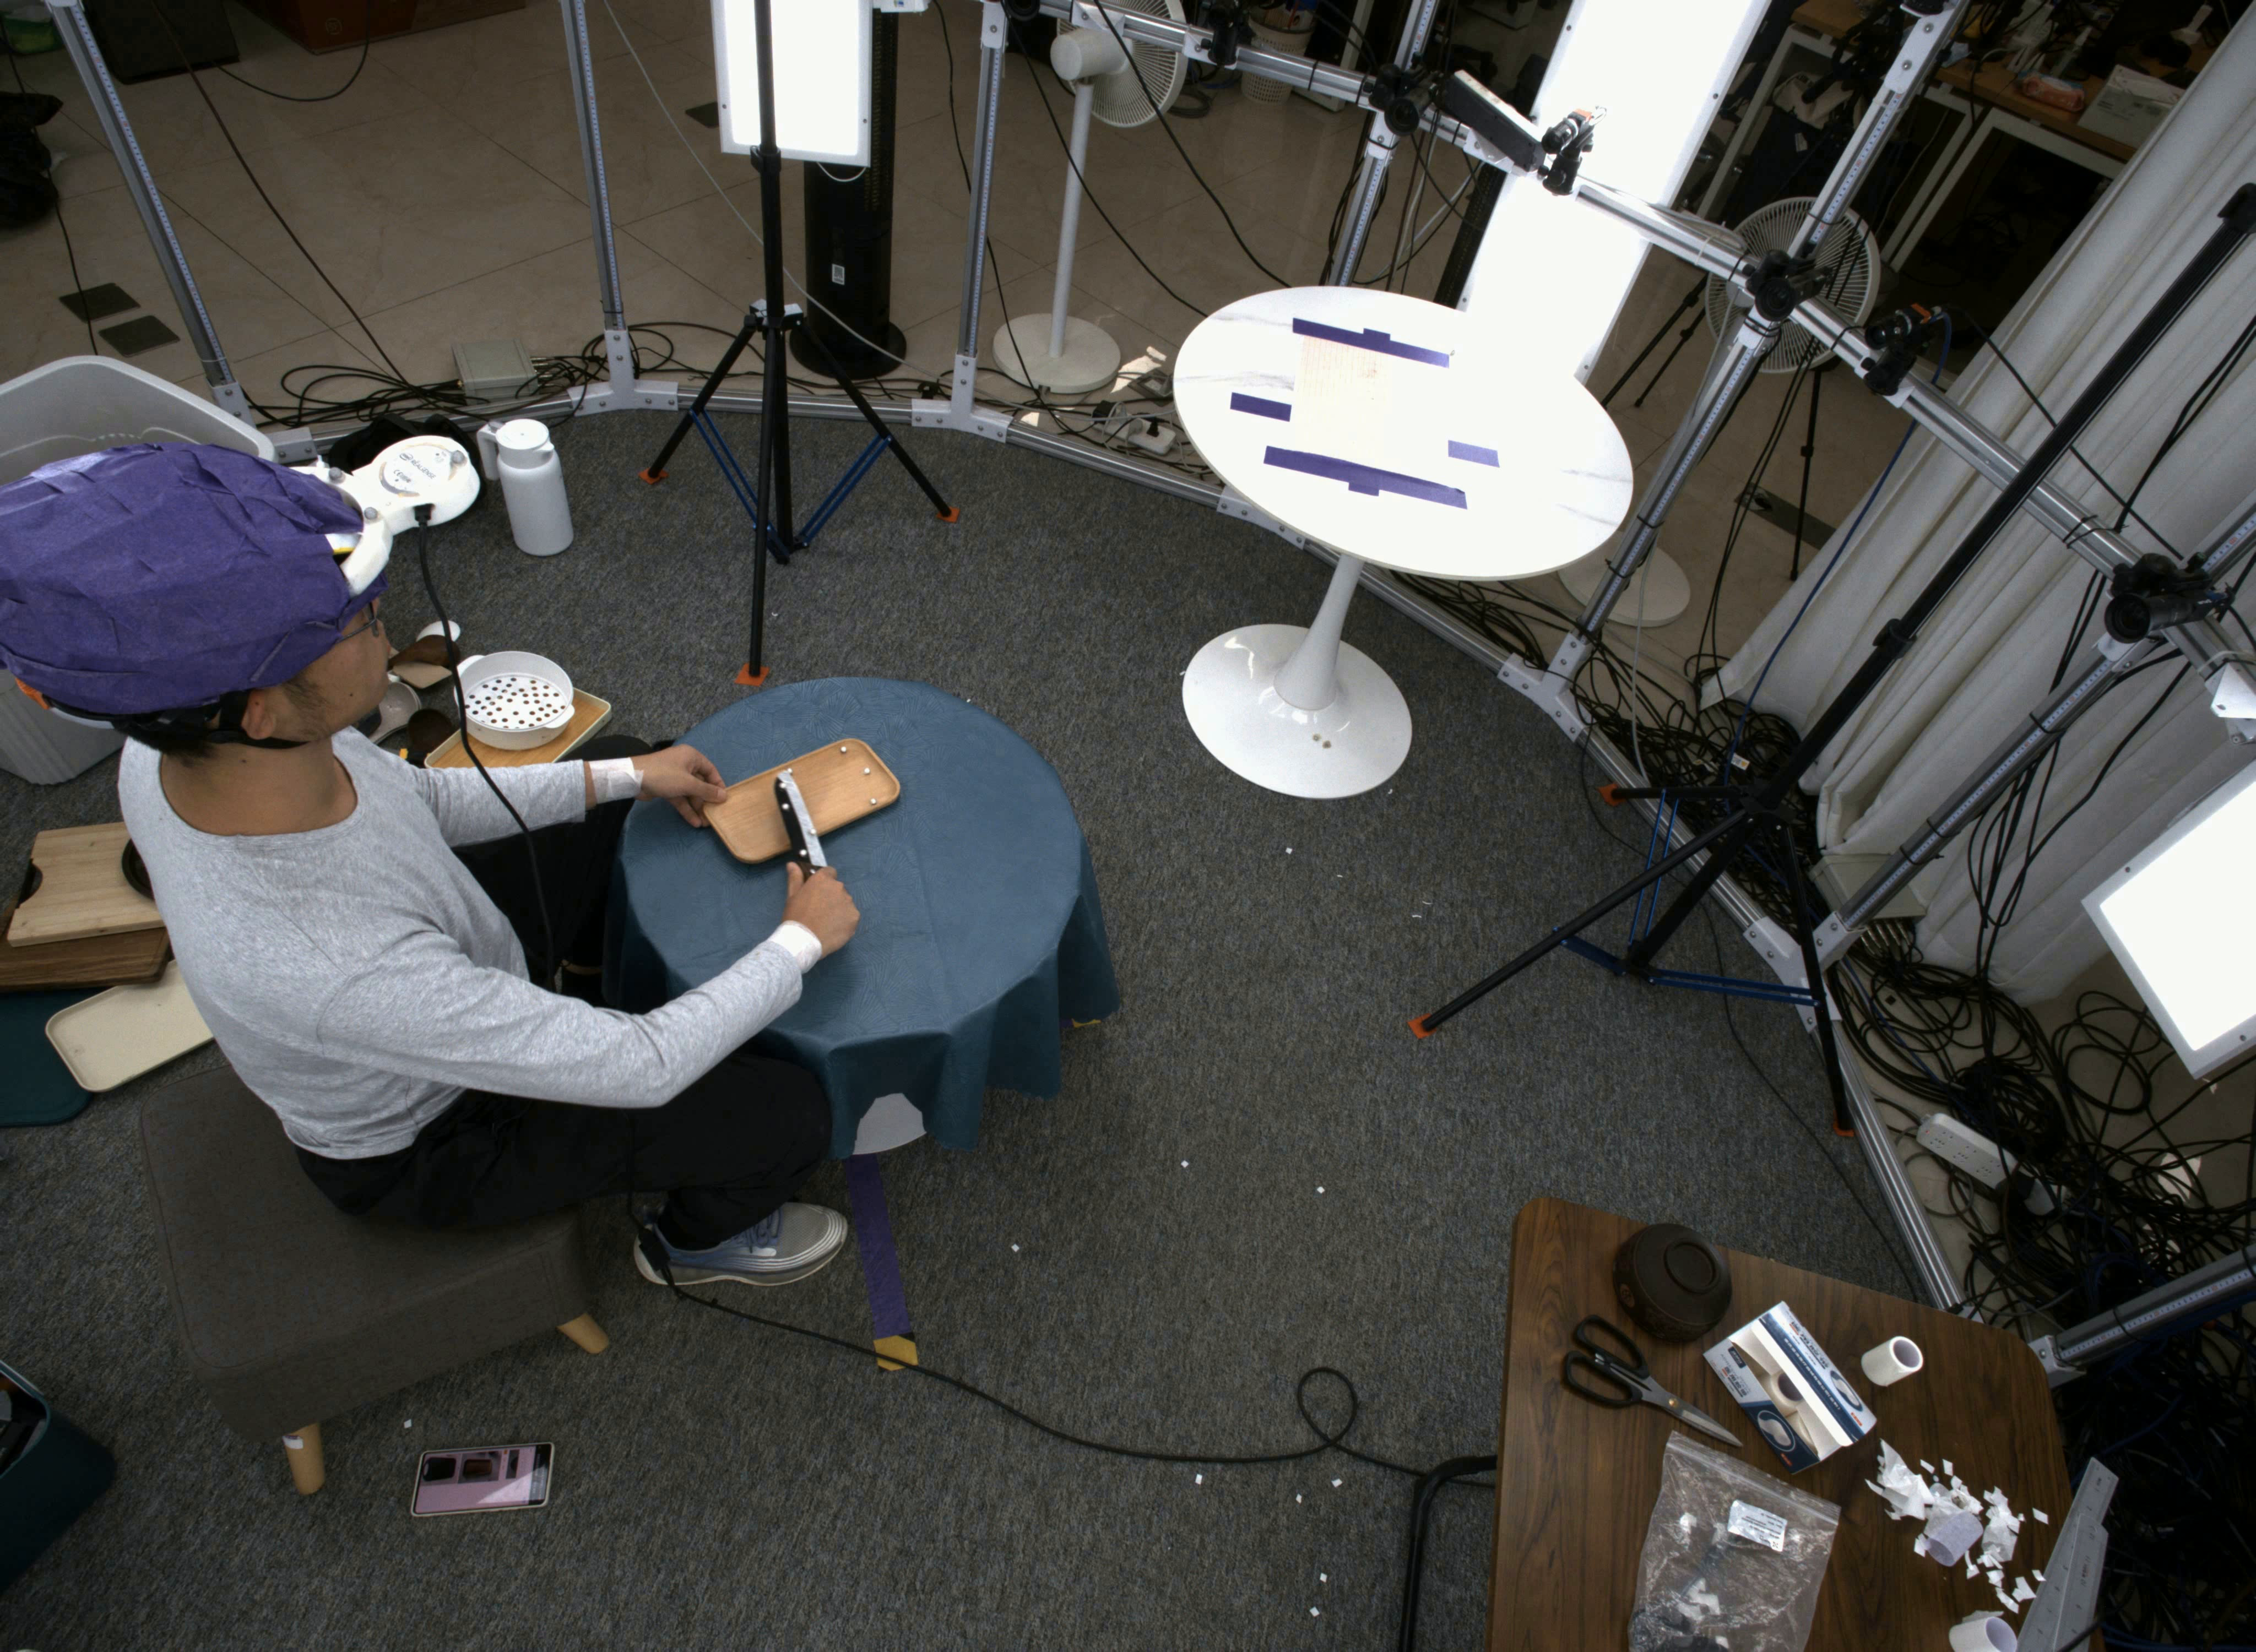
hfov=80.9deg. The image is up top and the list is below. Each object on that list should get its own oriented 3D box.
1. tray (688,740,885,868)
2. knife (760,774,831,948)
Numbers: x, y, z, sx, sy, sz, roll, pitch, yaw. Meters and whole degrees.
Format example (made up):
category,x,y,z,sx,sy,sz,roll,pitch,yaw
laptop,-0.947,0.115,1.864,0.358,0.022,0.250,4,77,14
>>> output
category,x,y,z,sx,sy,sz,roll,pitch,yaw
tray,-0.454,-0.033,1.734,0.252,0.023,0.127,-28,63,-32
knife,-0.423,0.036,1.645,0.051,0.020,0.281,14,41,-45
